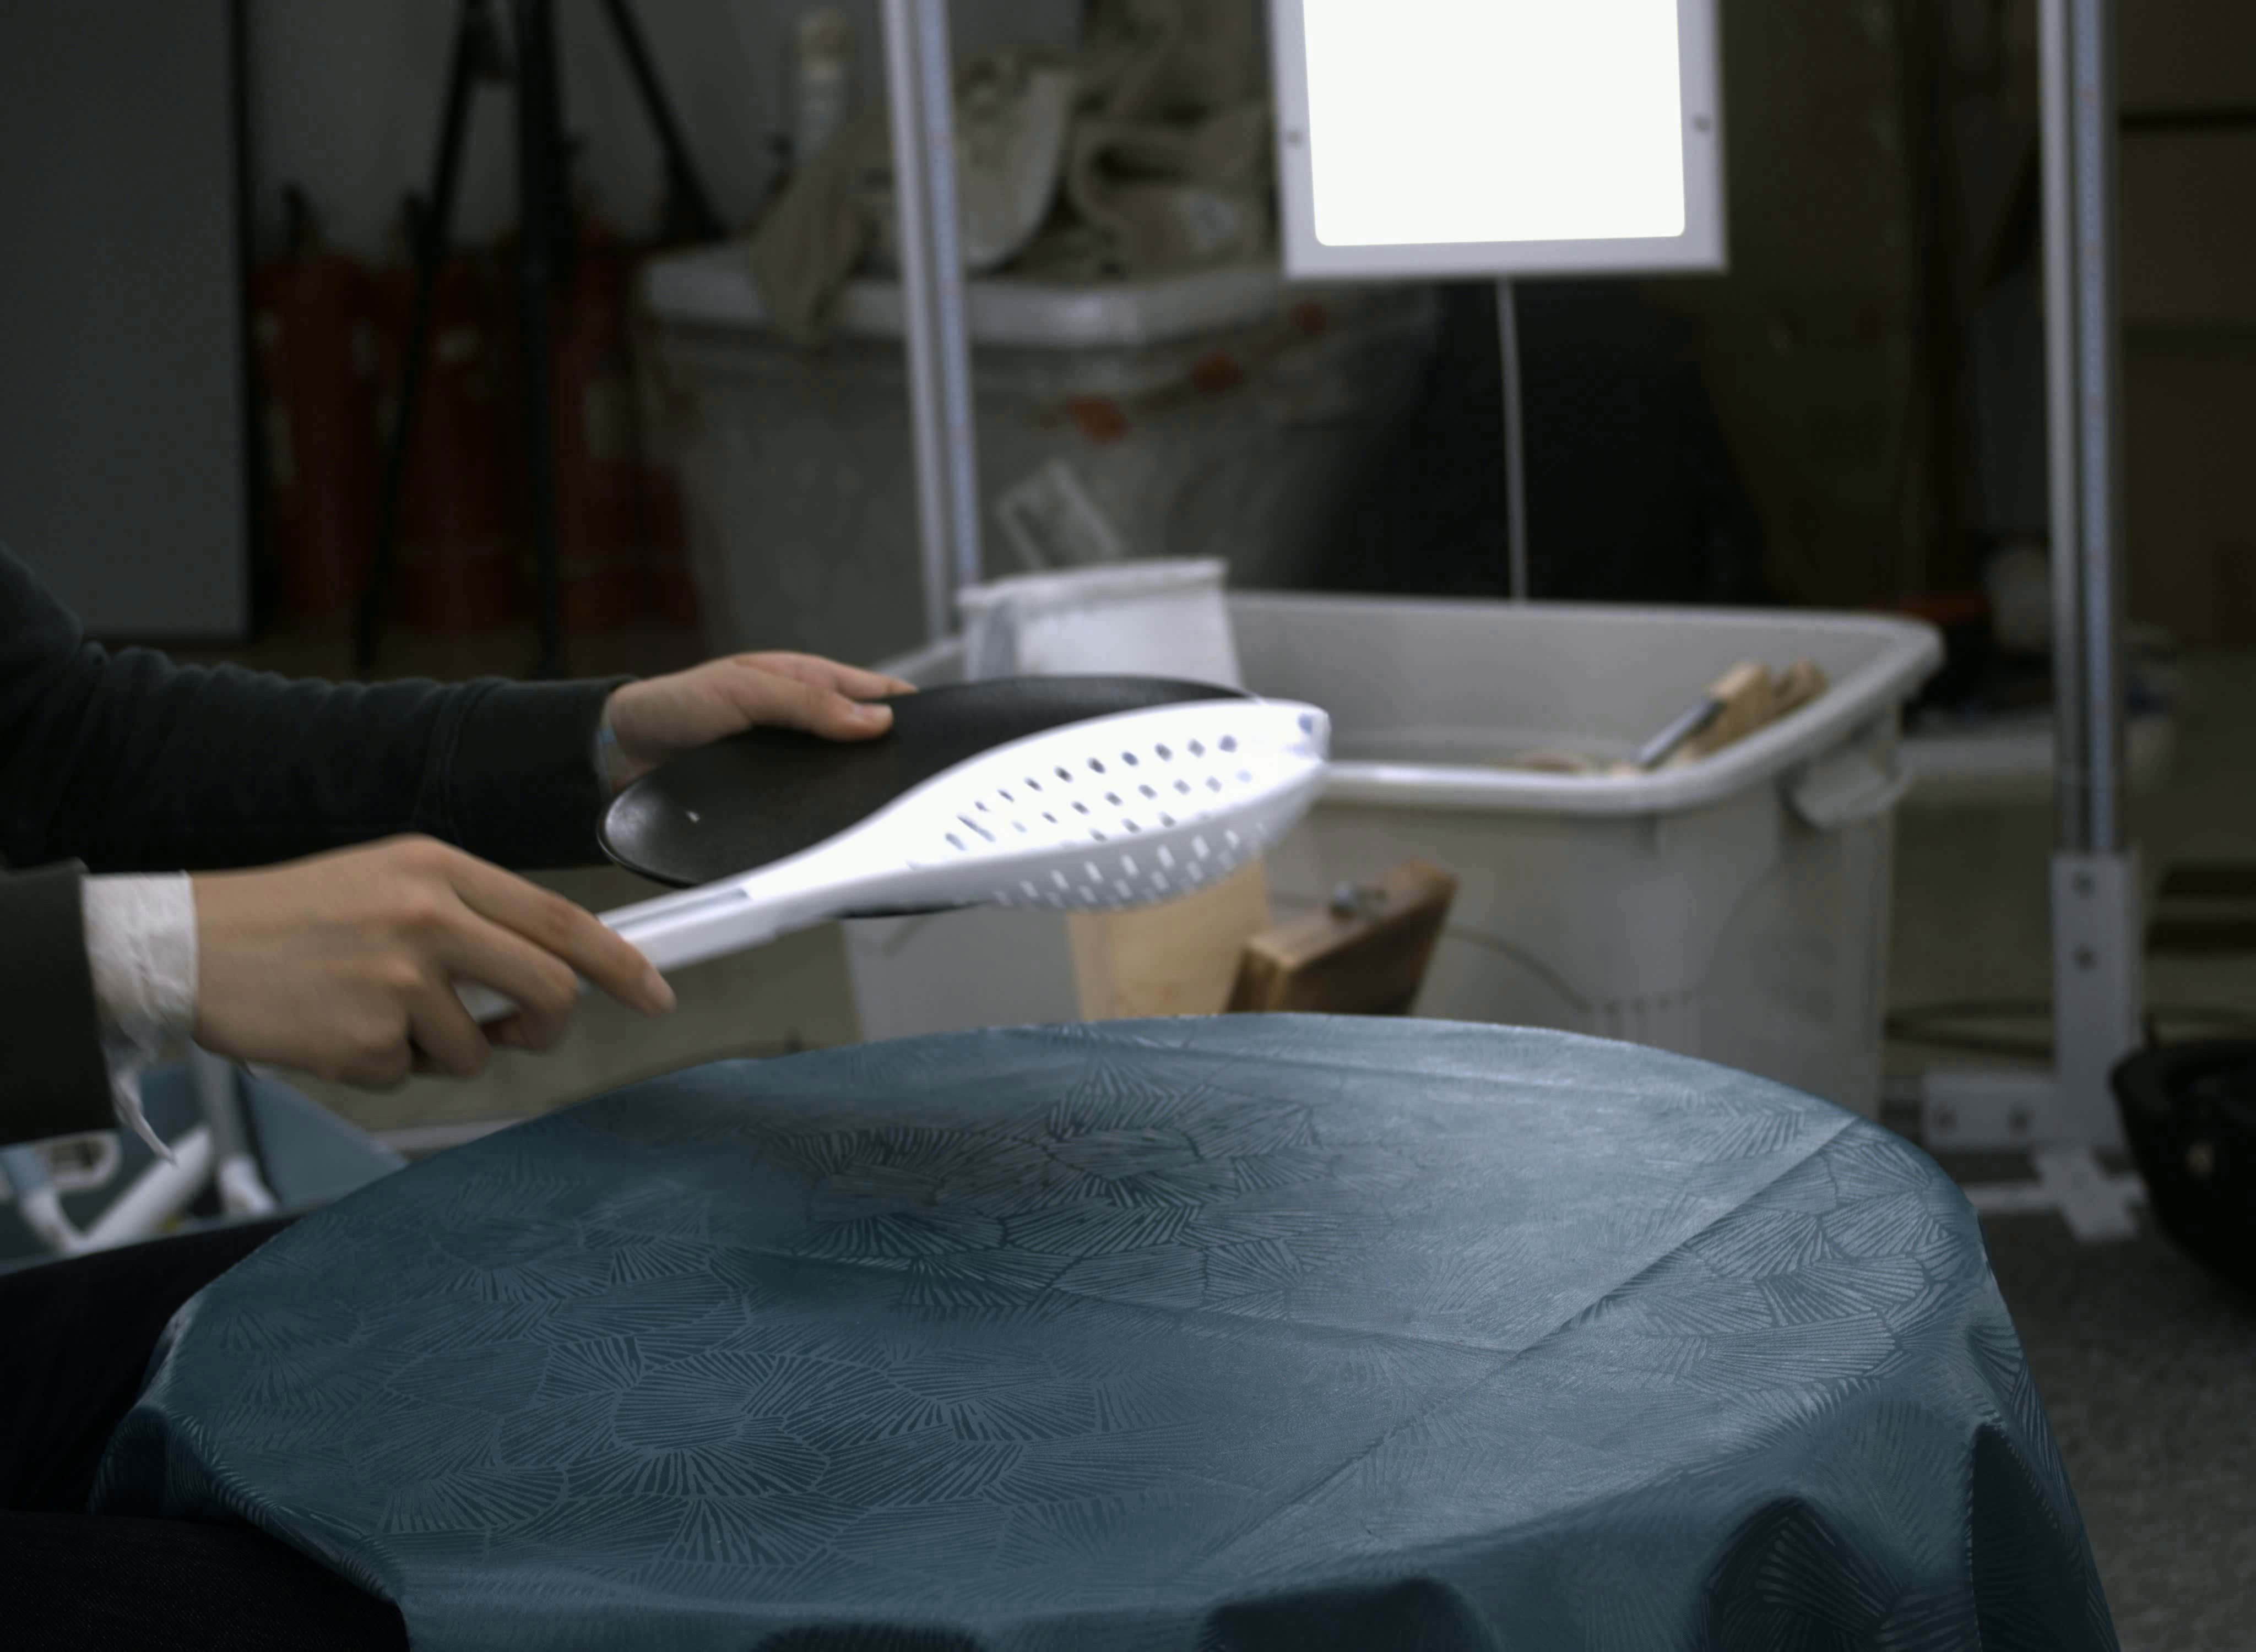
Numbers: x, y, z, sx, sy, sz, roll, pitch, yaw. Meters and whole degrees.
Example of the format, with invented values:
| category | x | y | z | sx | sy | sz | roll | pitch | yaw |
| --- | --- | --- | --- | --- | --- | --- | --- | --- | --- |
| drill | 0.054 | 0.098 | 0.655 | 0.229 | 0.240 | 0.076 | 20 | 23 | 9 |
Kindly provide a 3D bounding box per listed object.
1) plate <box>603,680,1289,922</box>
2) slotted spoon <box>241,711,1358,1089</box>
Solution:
| category | x | y | z | sx | sy | sz | roll | pitch | yaw |
| --- | --- | --- | --- | --- | --- | --- | --- | --- | --- |
| plate | -0.062 | -0.006 | 1.921 | 0.244 | 0.023 | 0.244 | -8 | 17 | 1 |
| slotted spoon | -0.095 | 0.022 | 1.650 | 0.344 | 0.046 | 0.137 | -11 | 14 | -15 |
